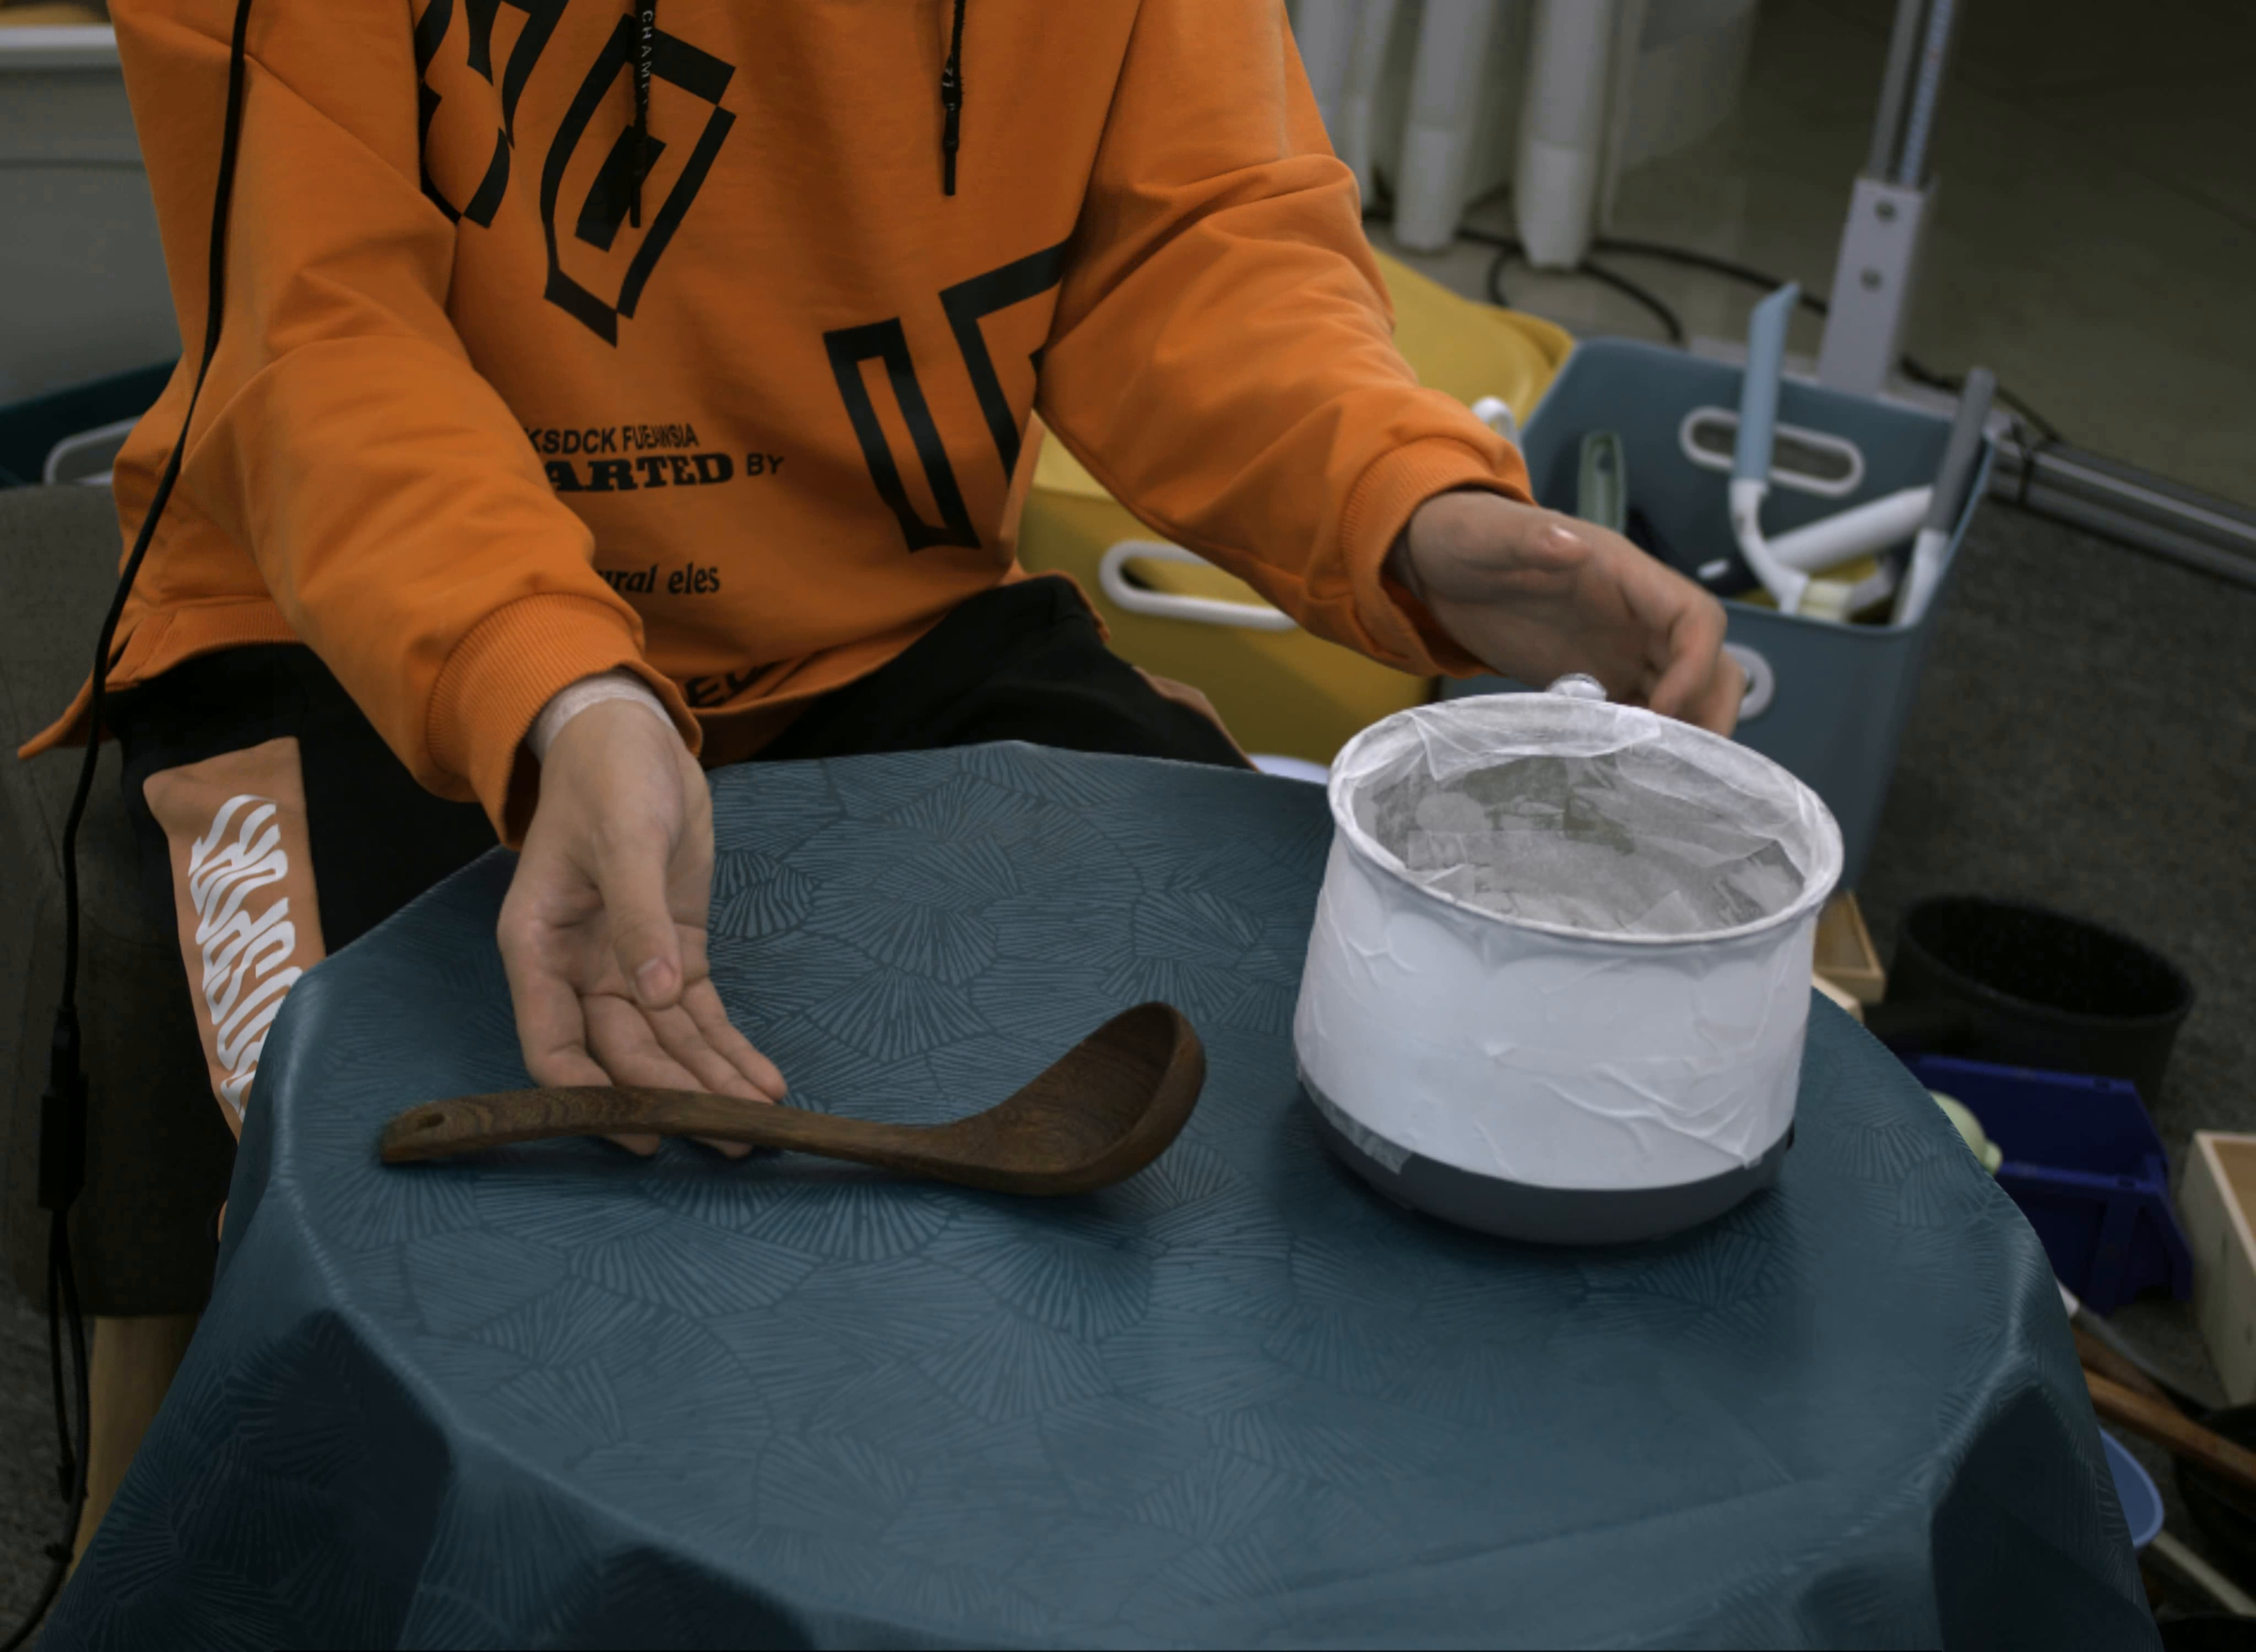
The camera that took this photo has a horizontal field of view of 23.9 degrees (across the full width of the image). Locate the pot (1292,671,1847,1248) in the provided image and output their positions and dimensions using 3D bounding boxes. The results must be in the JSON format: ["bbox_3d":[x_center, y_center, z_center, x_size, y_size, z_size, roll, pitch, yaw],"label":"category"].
[{"bbox_3d":[0.149,0.039,1.852,0.178,0.136,0.235,7,27,-1],"label":"pot"}]

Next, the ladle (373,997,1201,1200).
[{"bbox_3d":[-0.113,0.085,1.775,0.273,0.071,0.076,4,24,-7],"label":"ladle"}]
